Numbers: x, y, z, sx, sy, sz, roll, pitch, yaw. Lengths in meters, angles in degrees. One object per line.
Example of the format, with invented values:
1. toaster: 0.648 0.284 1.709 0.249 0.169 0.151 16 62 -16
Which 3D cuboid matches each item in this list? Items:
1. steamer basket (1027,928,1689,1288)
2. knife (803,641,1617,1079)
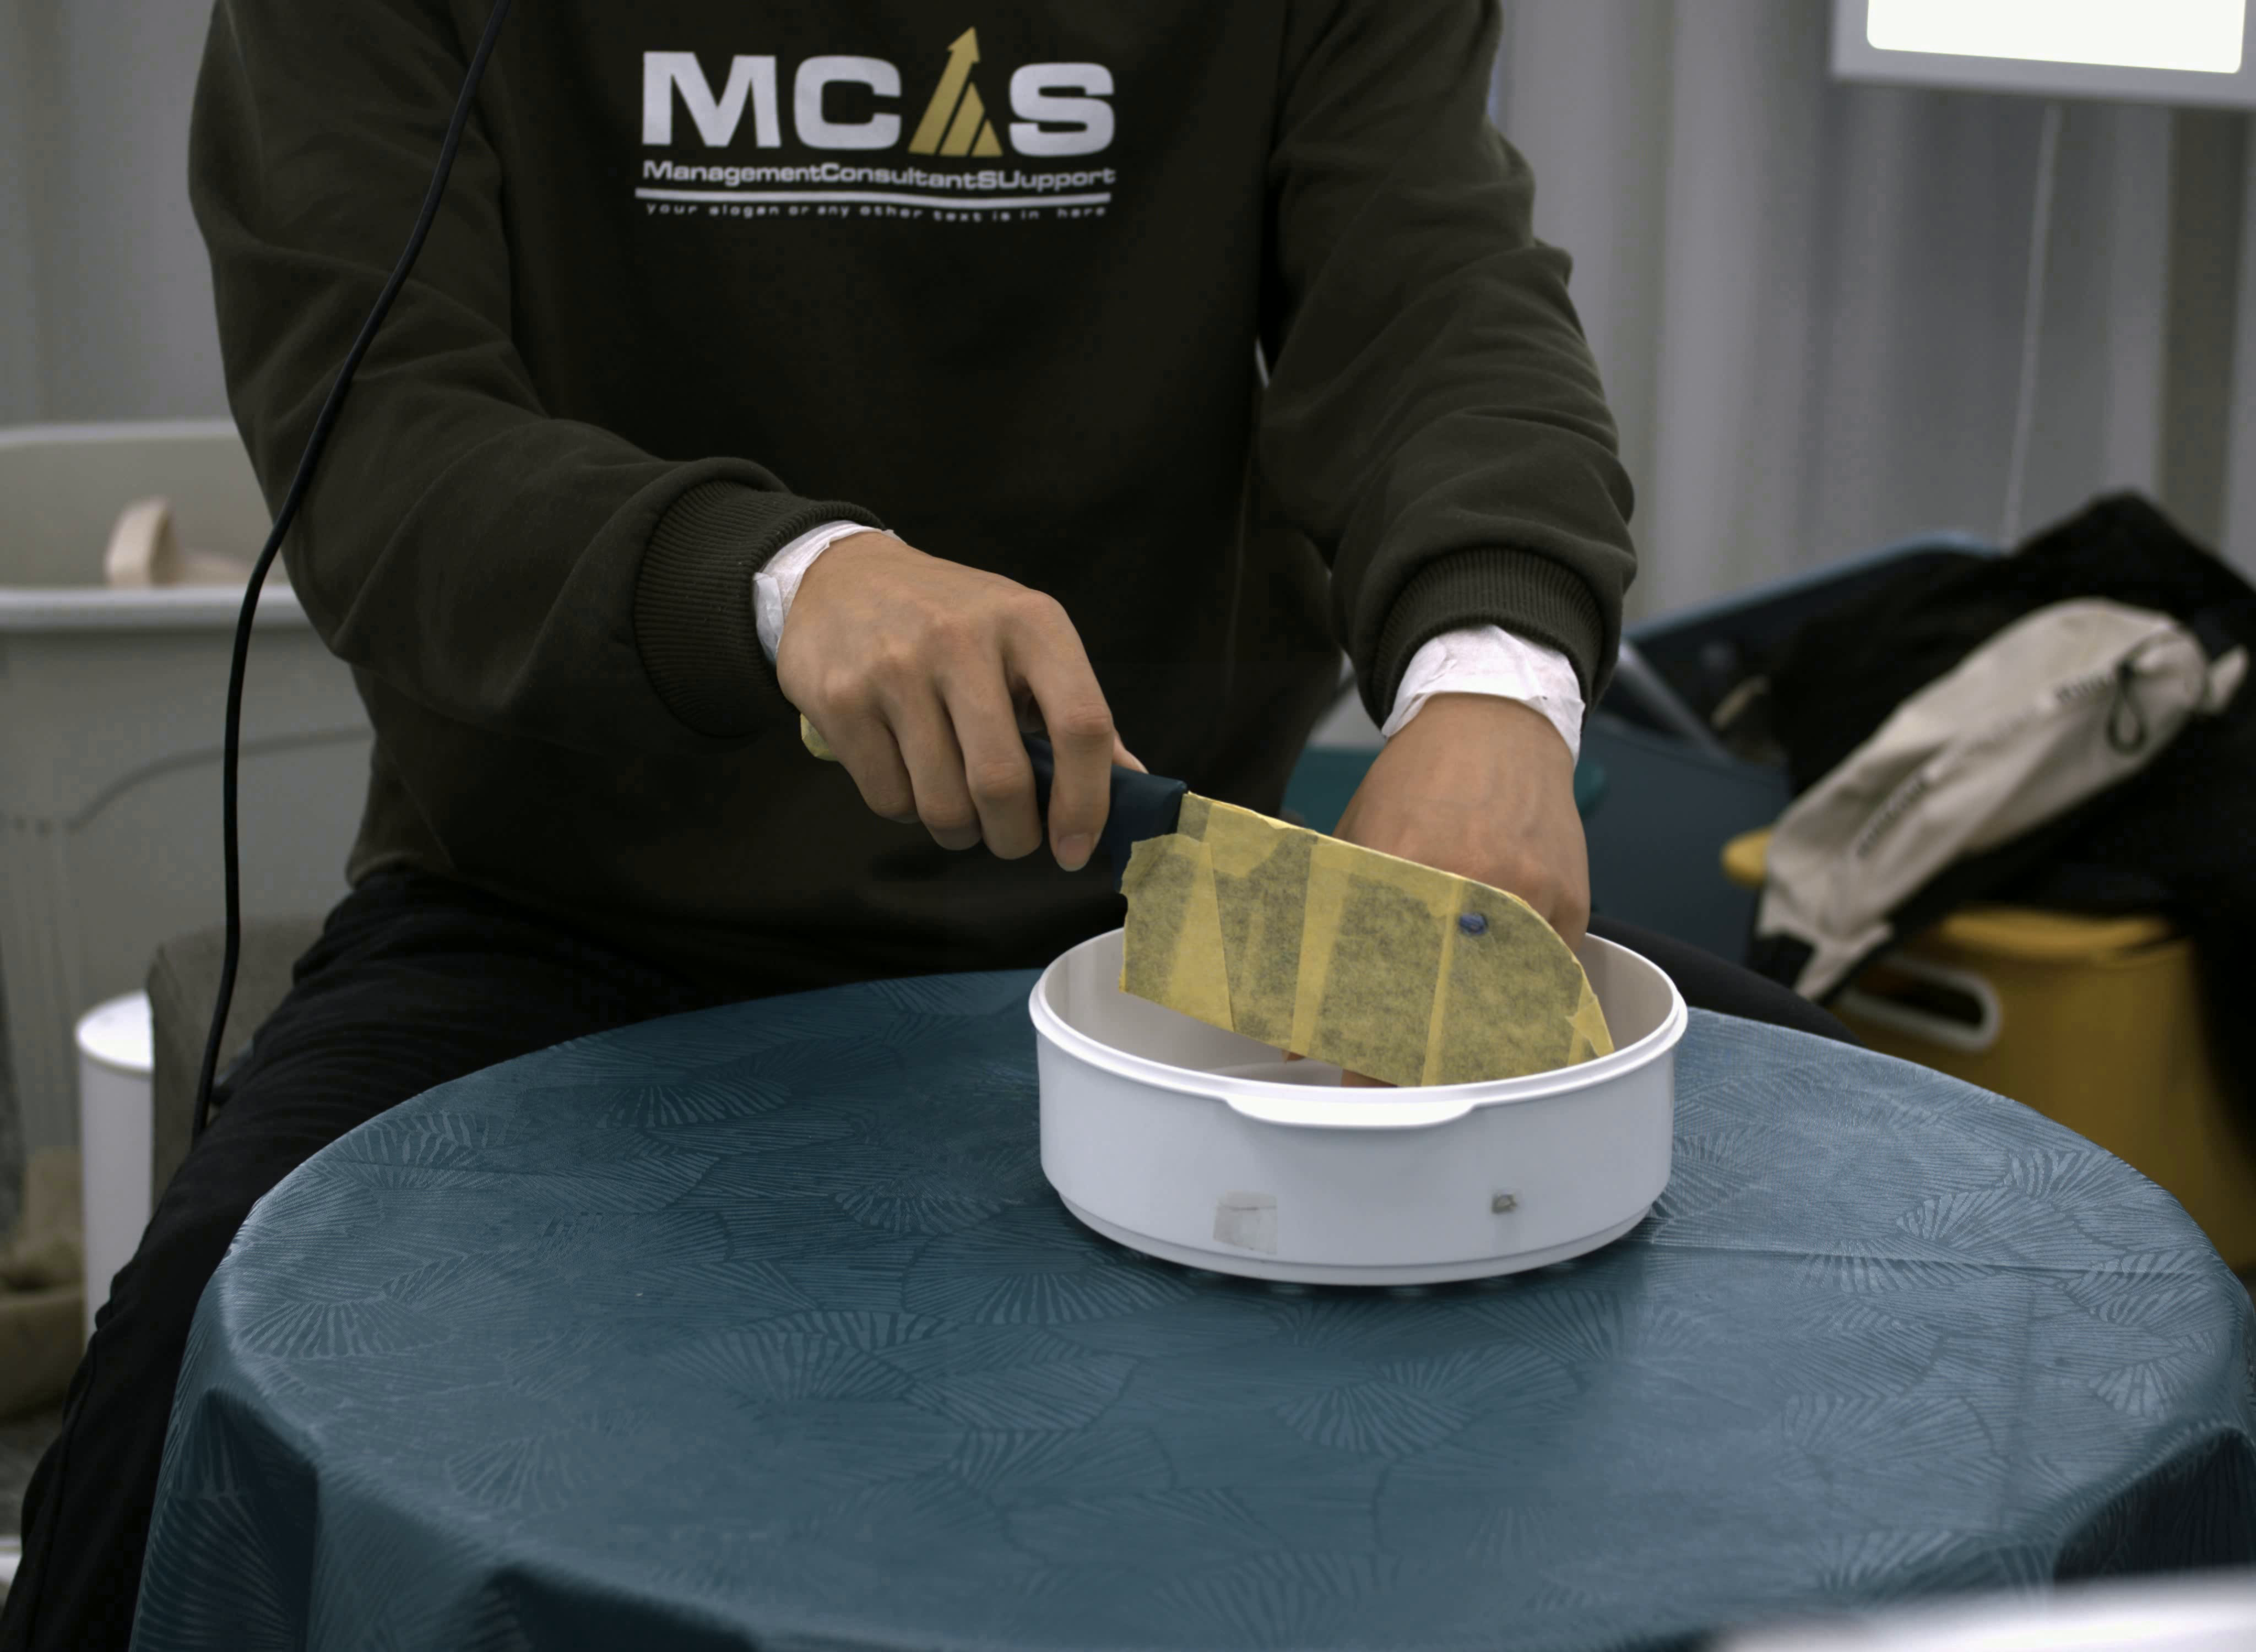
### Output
1. steamer basket: 0.069 0.083 1.607 0.201 0.070 0.230 2 14 4
2. knife: 0.023 0.013 1.601 0.286 0.082 0.027 25 39 19
